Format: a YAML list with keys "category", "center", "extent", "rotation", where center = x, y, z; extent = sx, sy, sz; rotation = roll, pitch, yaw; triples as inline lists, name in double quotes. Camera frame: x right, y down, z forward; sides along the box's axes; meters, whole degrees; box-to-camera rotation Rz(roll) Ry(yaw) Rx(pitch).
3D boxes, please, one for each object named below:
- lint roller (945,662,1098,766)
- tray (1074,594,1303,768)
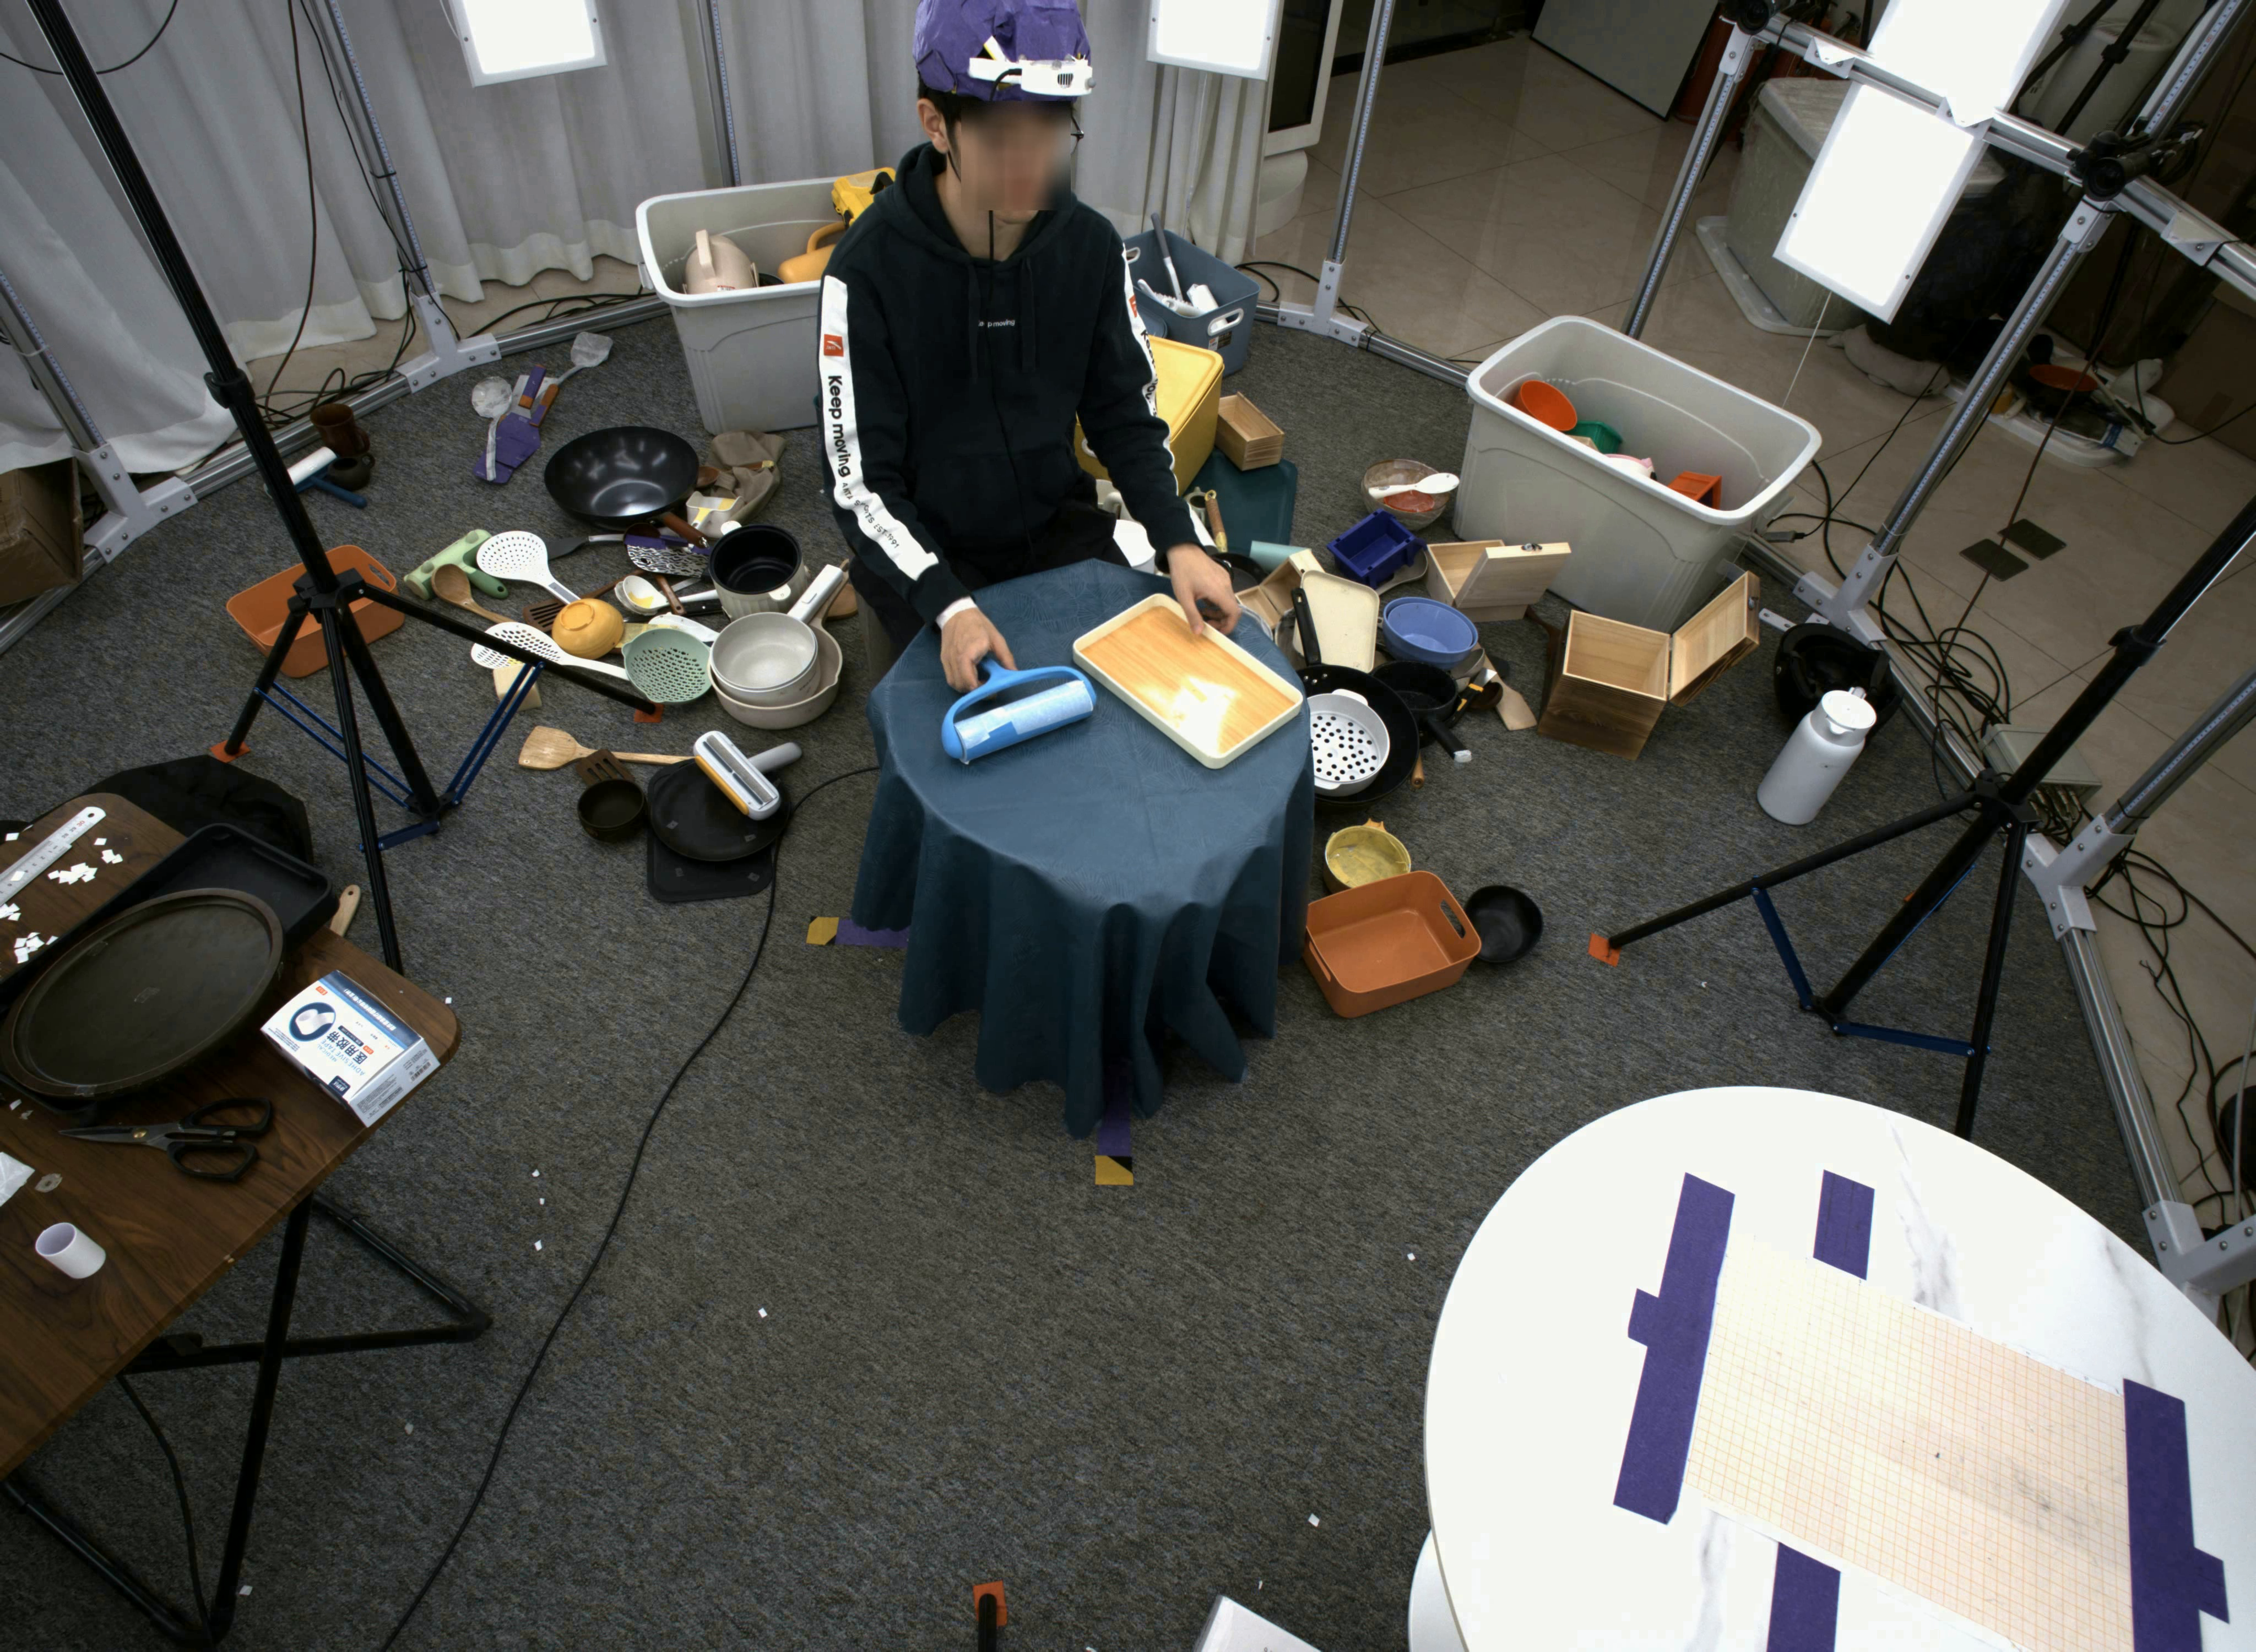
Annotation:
- category: "lint roller"
  center: [-0.175, -0.183, 1.779]
  extent: [0.230, 0.066, 0.184]
  rotation: [-27, 57, -22]
- category: "tray"
  center: [0.084, -0.214, 1.842]
  extent: [0.193, 0.027, 0.305]
  rotation: [-34, 59, -28]
